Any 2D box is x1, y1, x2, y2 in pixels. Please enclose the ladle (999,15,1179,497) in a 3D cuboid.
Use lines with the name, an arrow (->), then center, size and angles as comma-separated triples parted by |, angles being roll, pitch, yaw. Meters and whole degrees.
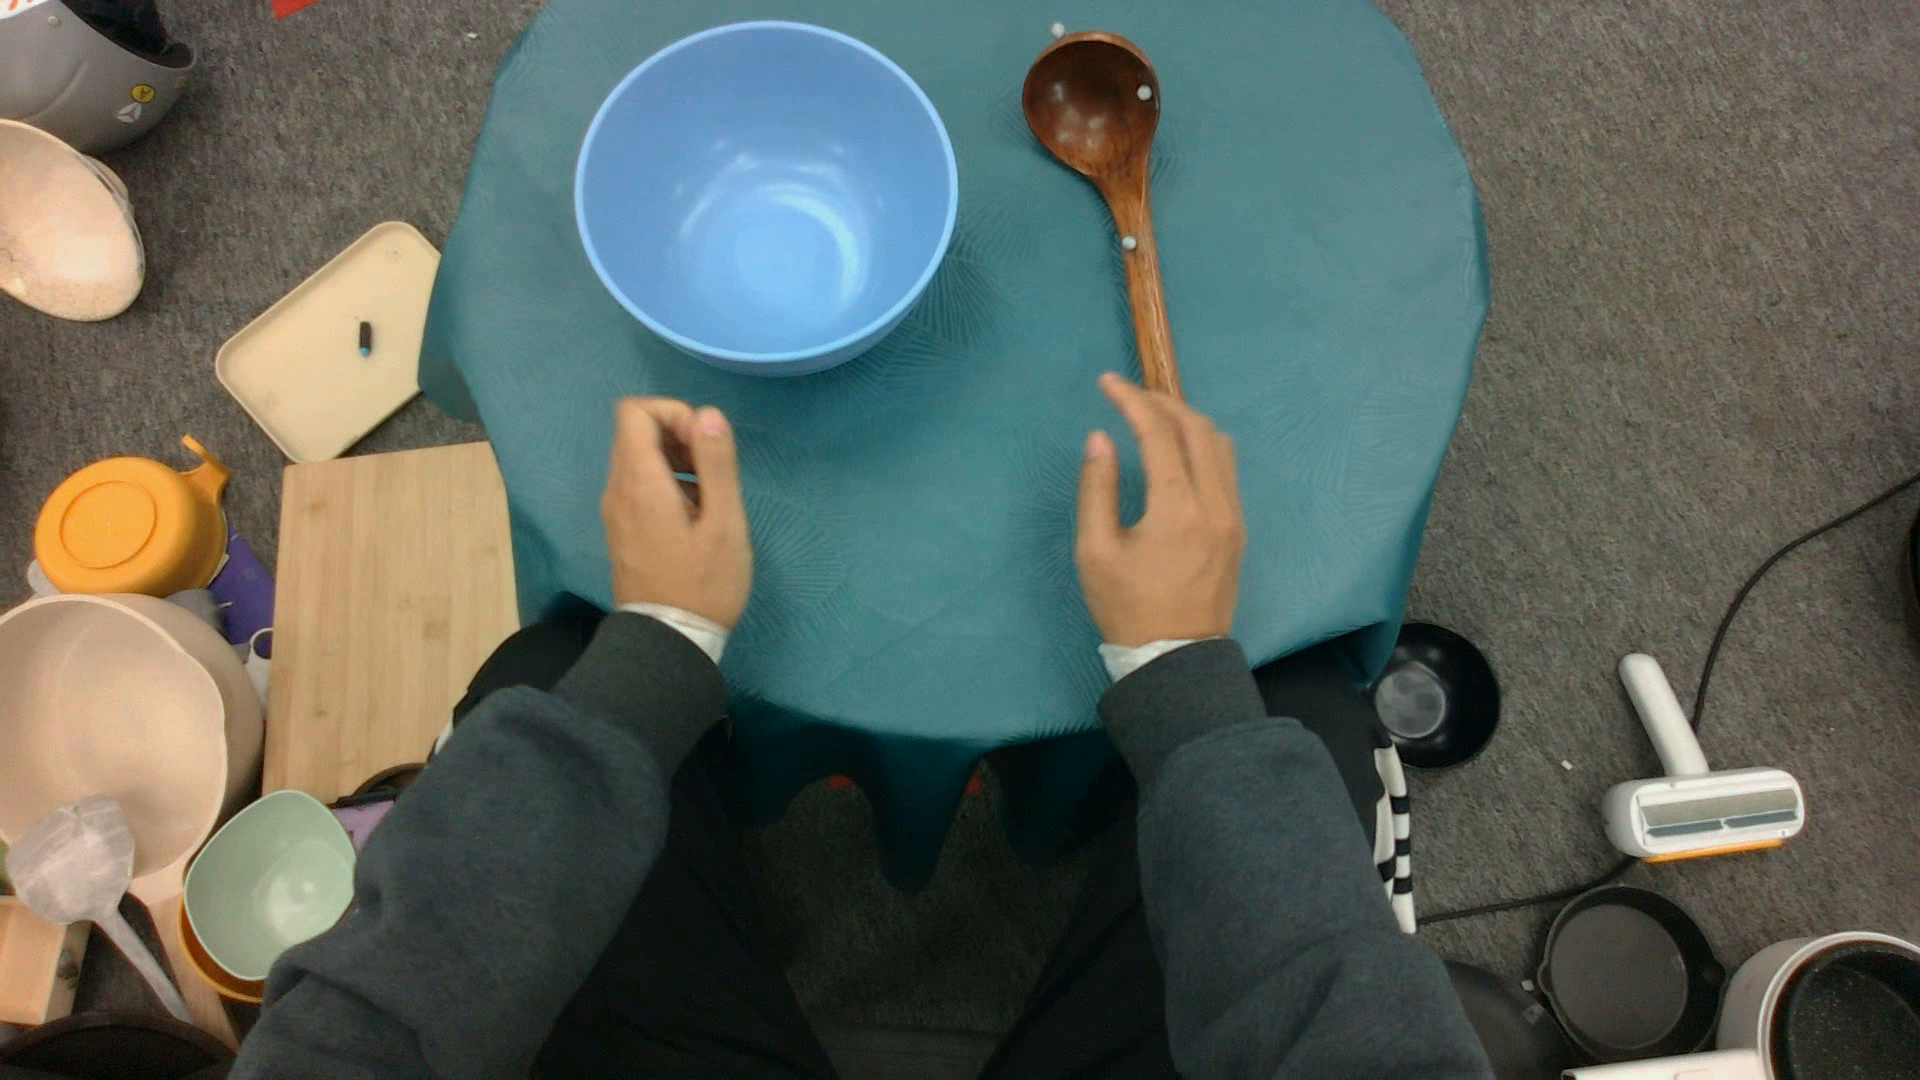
ladle -> 0.079, -0.162, 0.769 | 0.081, 0.077, 0.274 | -17, 72, 34

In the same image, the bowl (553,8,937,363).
bowl -> -0.112, -0.178, 0.753 | 0.196, 0.095, 0.197 | 1, 75, -3
